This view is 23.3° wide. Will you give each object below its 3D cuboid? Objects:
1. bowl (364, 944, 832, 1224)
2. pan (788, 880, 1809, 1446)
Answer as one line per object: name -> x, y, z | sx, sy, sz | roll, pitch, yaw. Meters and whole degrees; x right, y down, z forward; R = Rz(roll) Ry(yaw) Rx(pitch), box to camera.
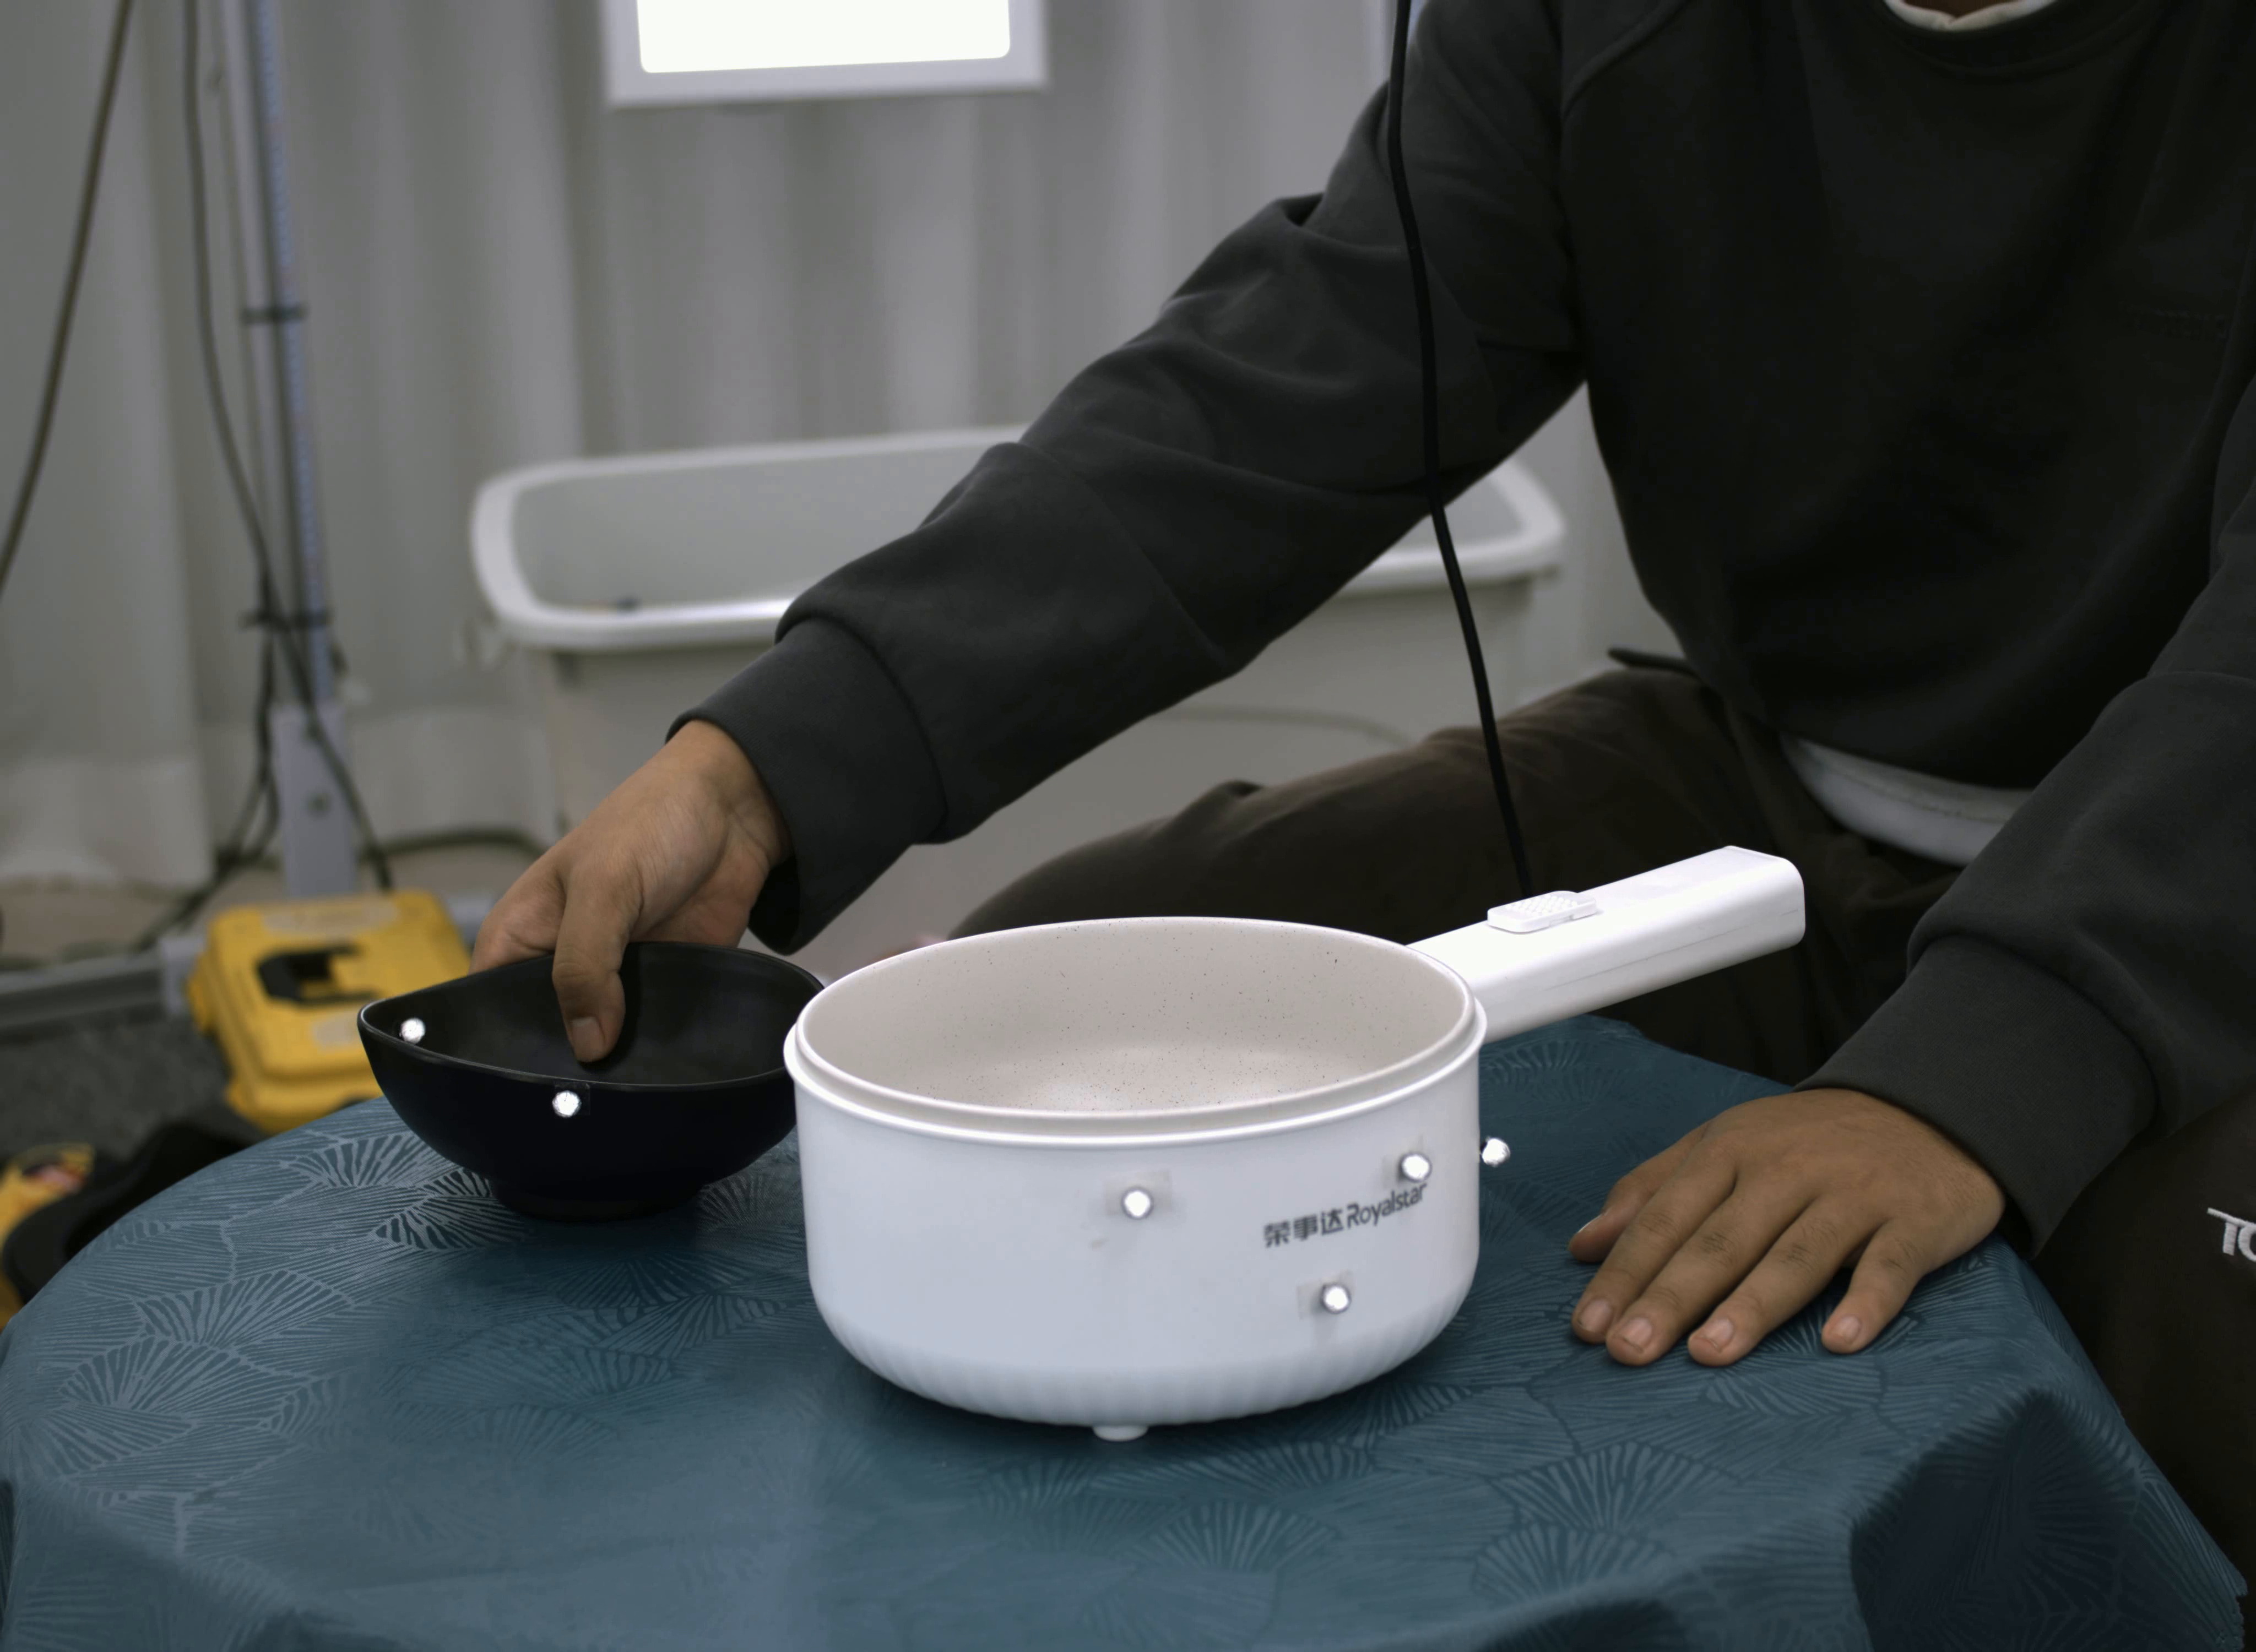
bowl -> -0.168, 0.085, 1.727 | 0.137, 0.066, 0.171 | -16, 19, -42
pan -> 0.063, 0.093, 1.620 | 0.353, 0.102, 0.202 | -12, 15, -38
